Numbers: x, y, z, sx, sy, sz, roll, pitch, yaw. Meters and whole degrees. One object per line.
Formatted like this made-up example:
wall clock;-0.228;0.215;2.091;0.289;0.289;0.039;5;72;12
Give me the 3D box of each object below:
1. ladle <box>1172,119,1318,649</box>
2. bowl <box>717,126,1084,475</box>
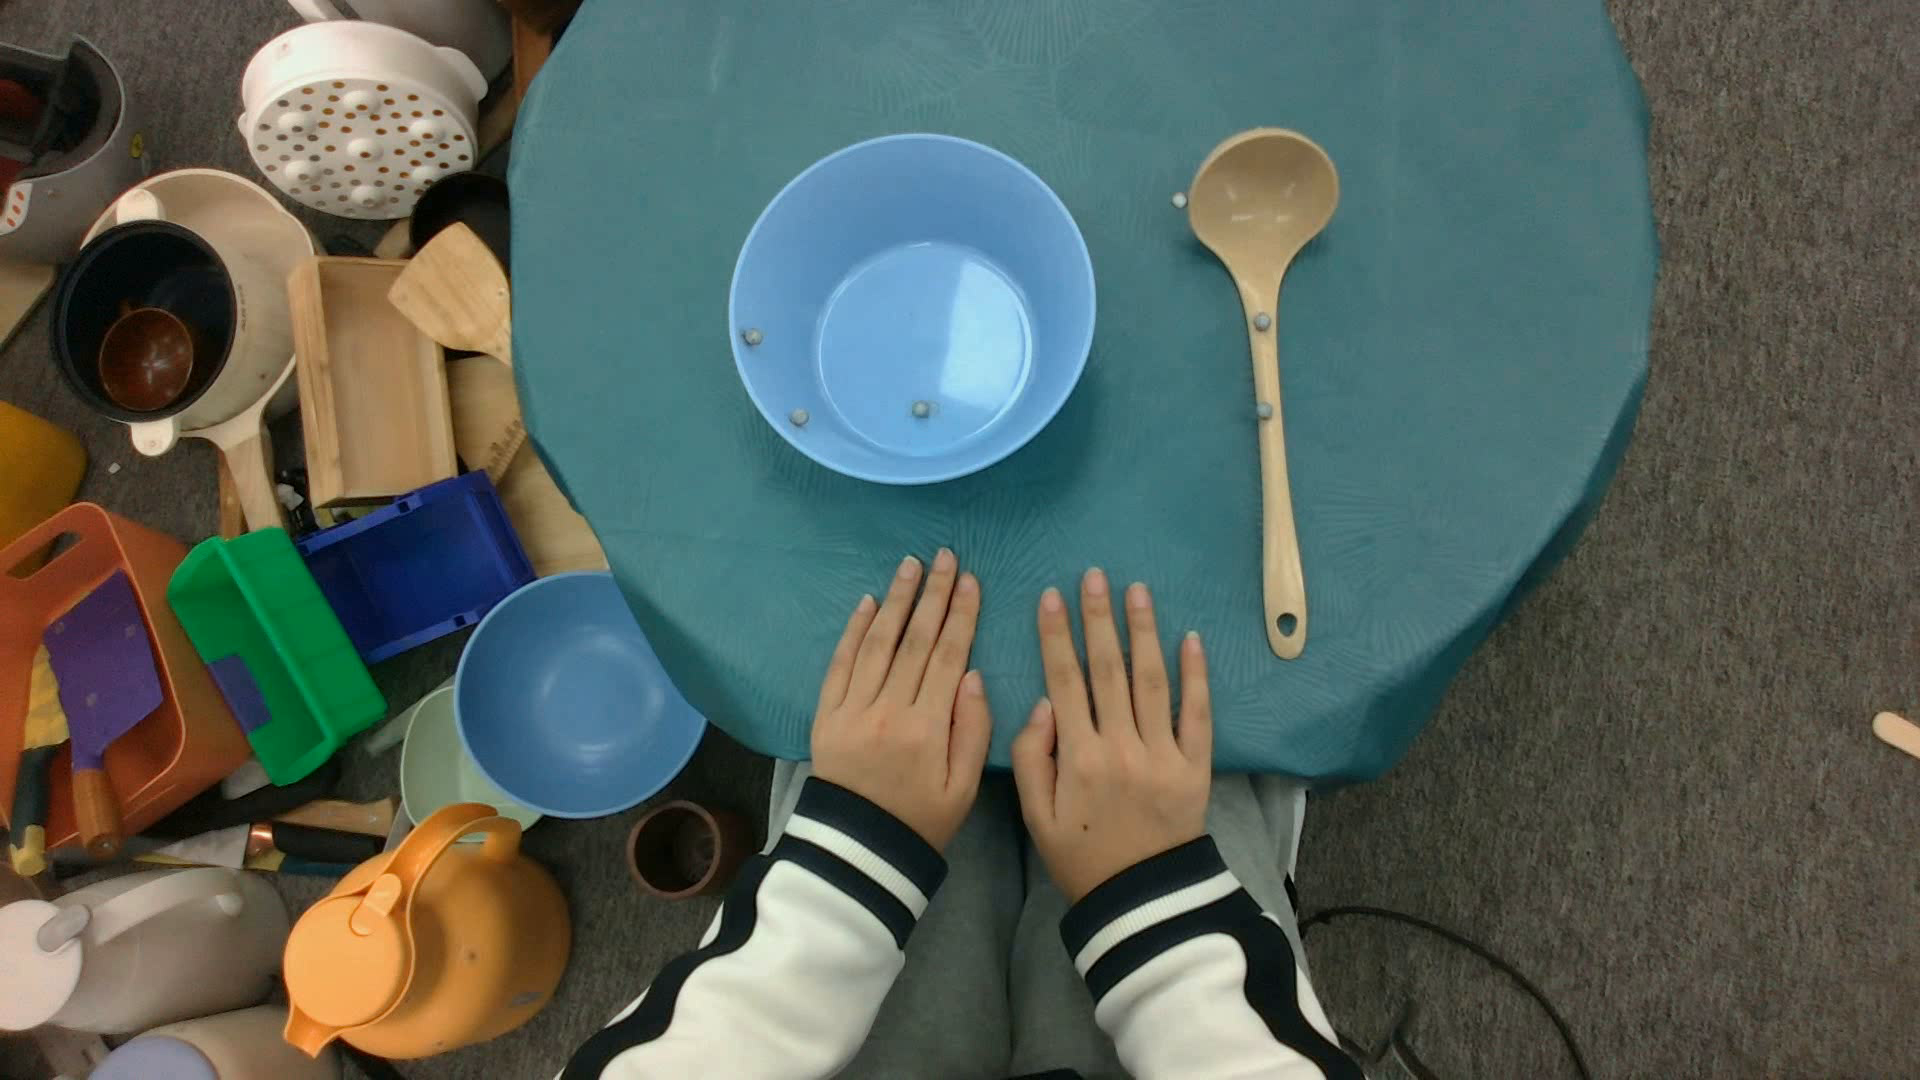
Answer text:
ladle;0.148;-0.078;0.661;0.072;0.072;0.255;-5;77;4
bowl;-0.026;-0.109;0.682;0.176;0.070;0.176;-1;77;5
